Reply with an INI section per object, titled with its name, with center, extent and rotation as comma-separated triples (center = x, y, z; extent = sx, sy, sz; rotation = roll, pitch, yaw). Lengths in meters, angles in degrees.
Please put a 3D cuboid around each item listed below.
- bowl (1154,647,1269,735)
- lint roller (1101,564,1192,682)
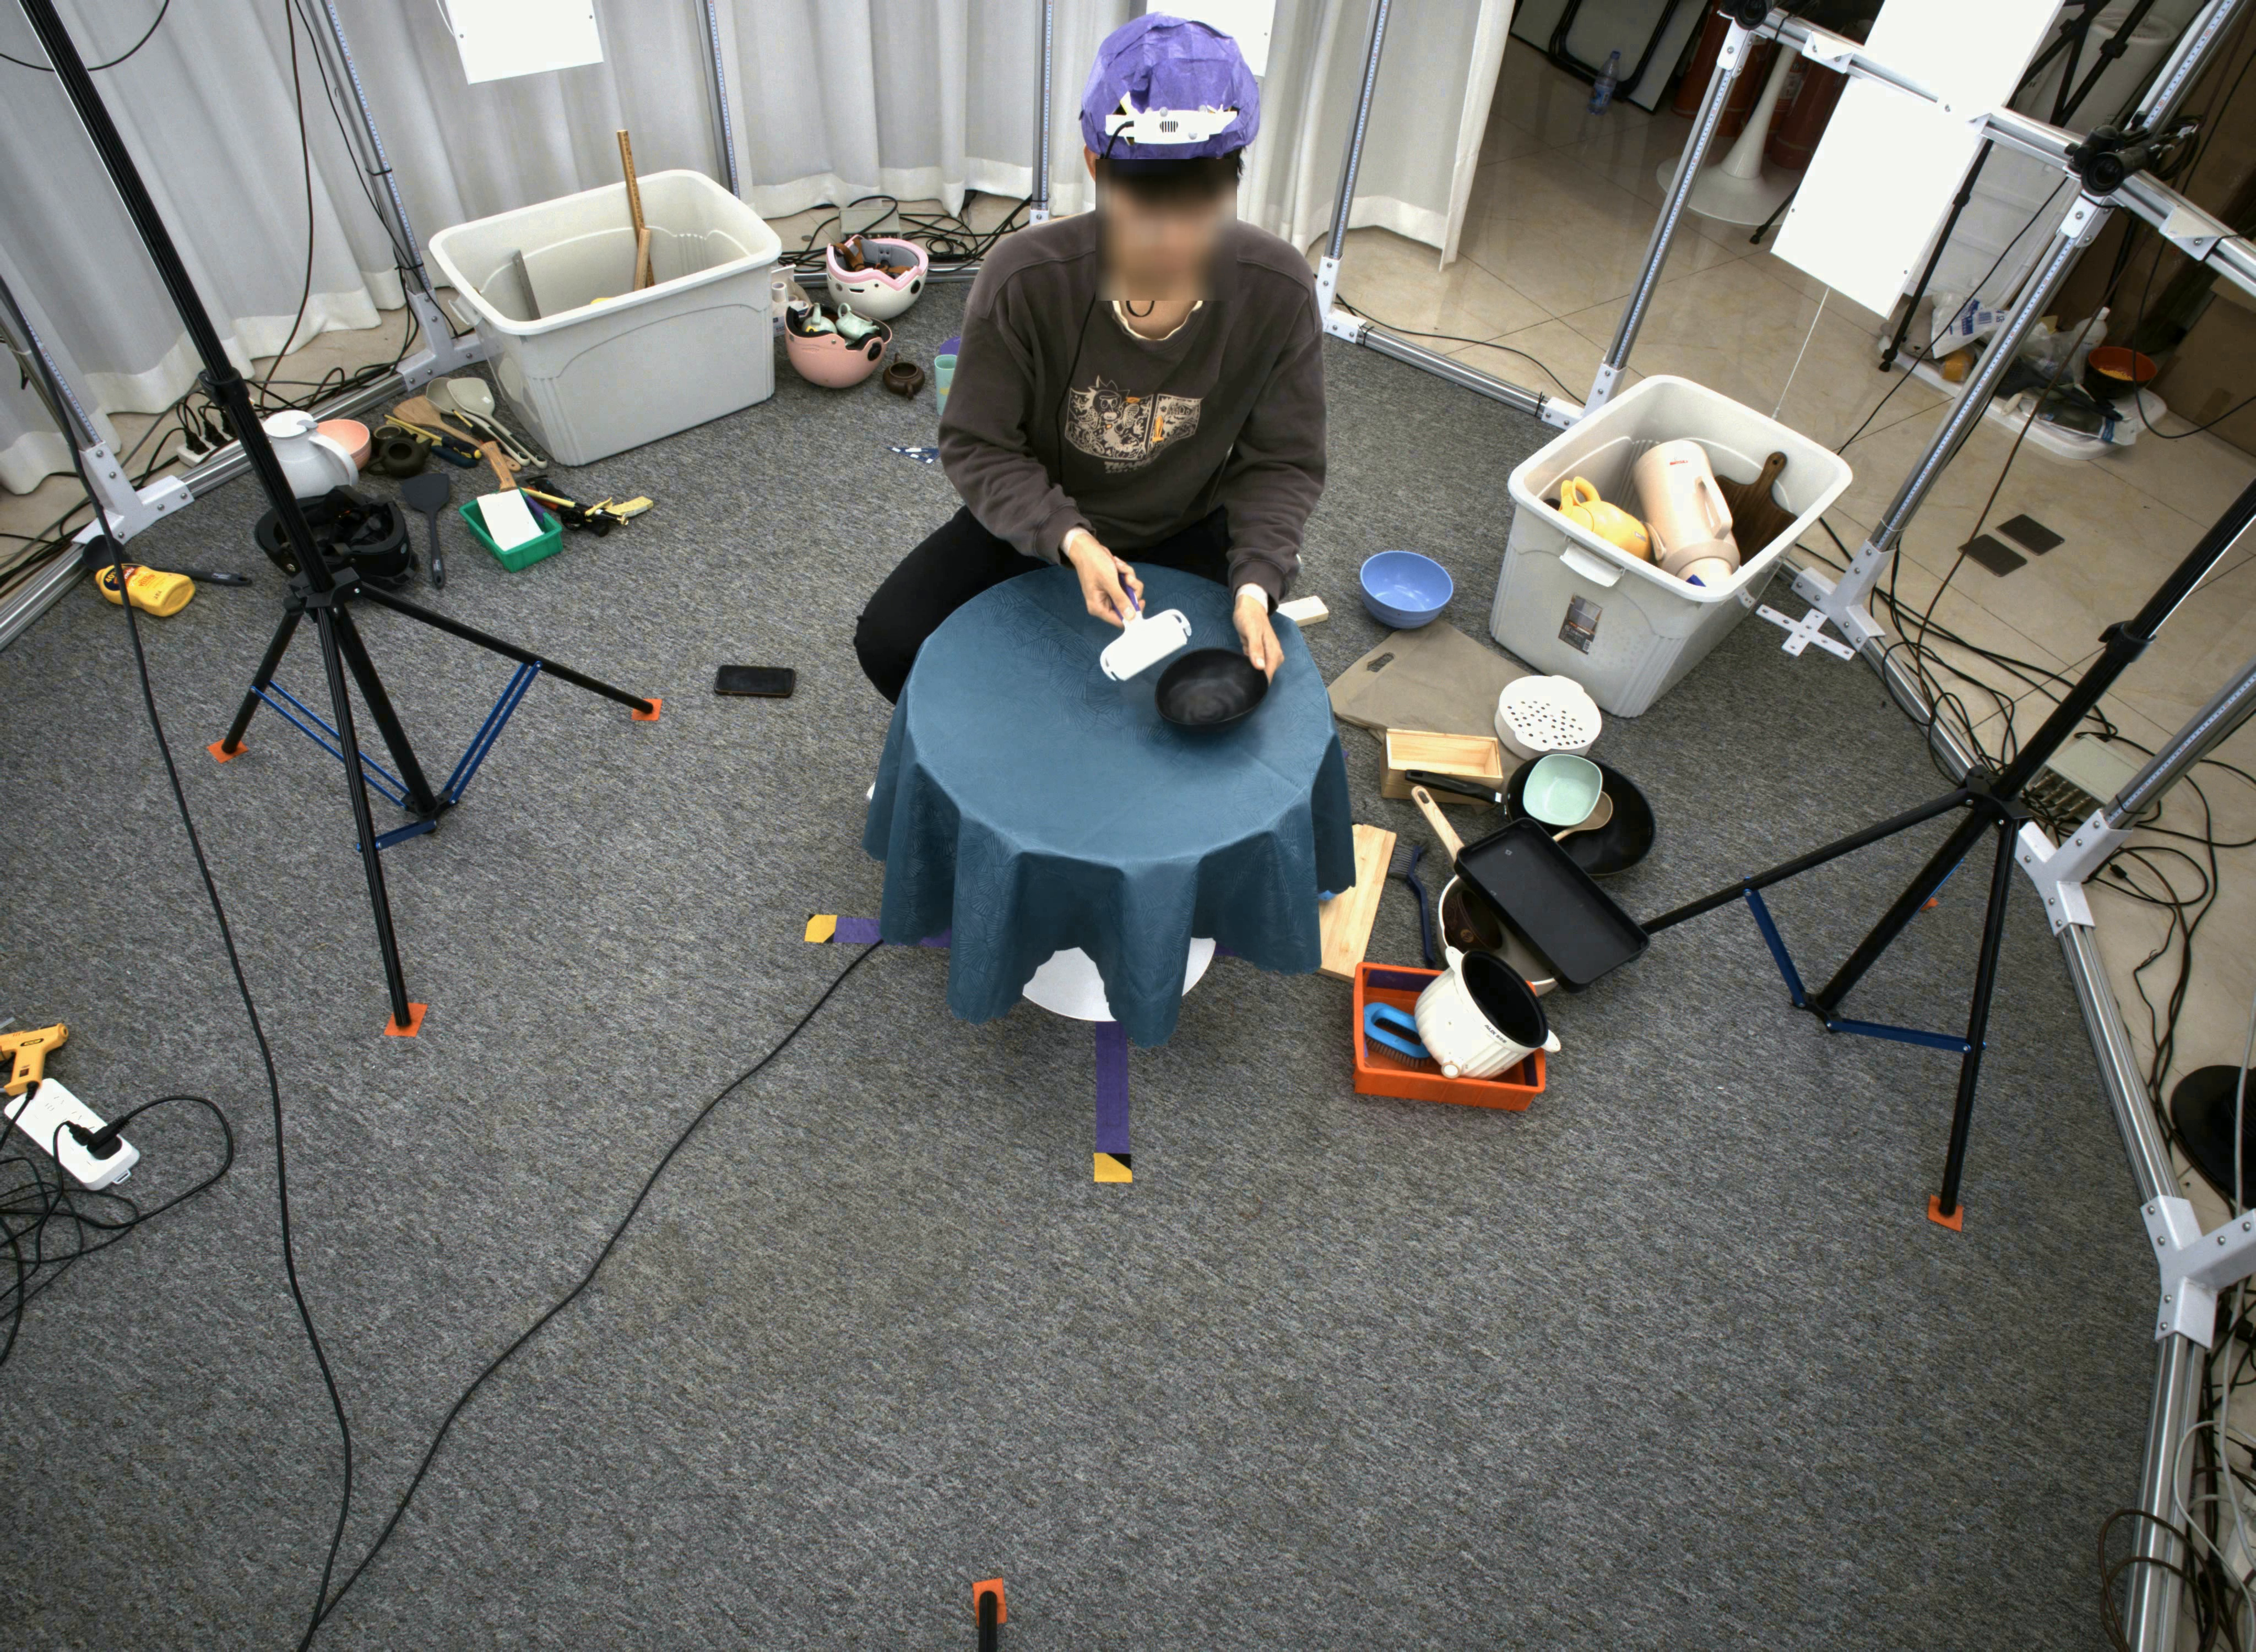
[bowl]
center = 0.115, -0.174, 1.784
extent = 0.171, 0.065, 0.140
rotation = -29, 56, -24
[lint roller]
center = 0.002, -0.298, 1.778
extent = 0.132, 0.049, 0.184
rotation = -28, 68, 12
